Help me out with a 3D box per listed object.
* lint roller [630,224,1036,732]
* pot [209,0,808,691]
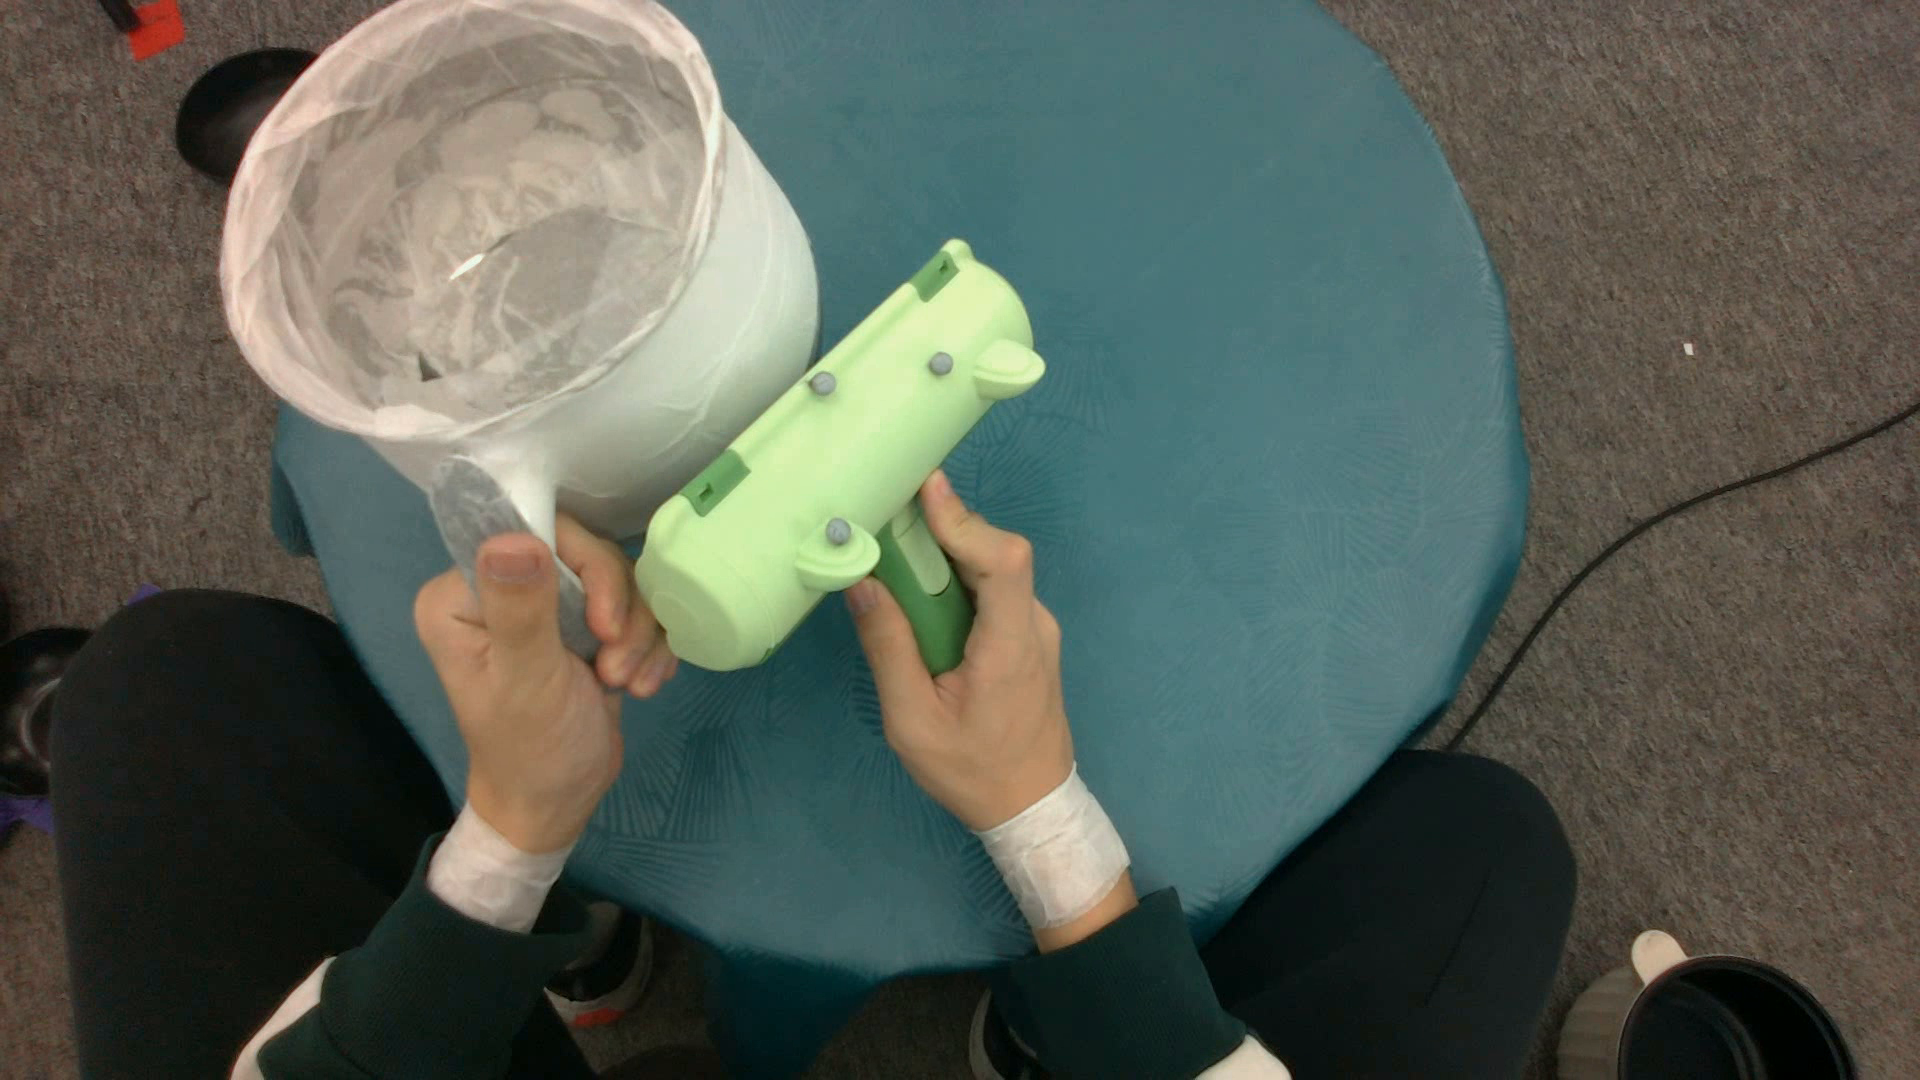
[{"bbox_3d":[-0.012,0.003,0.520,0.199,0.082,0.183,-52,122,-39],"label":"lint roller"},{"bbox_3d":[-0.149,-0.068,0.497,0.178,0.136,0.234,-10,69,7],"label":"pot"}]
